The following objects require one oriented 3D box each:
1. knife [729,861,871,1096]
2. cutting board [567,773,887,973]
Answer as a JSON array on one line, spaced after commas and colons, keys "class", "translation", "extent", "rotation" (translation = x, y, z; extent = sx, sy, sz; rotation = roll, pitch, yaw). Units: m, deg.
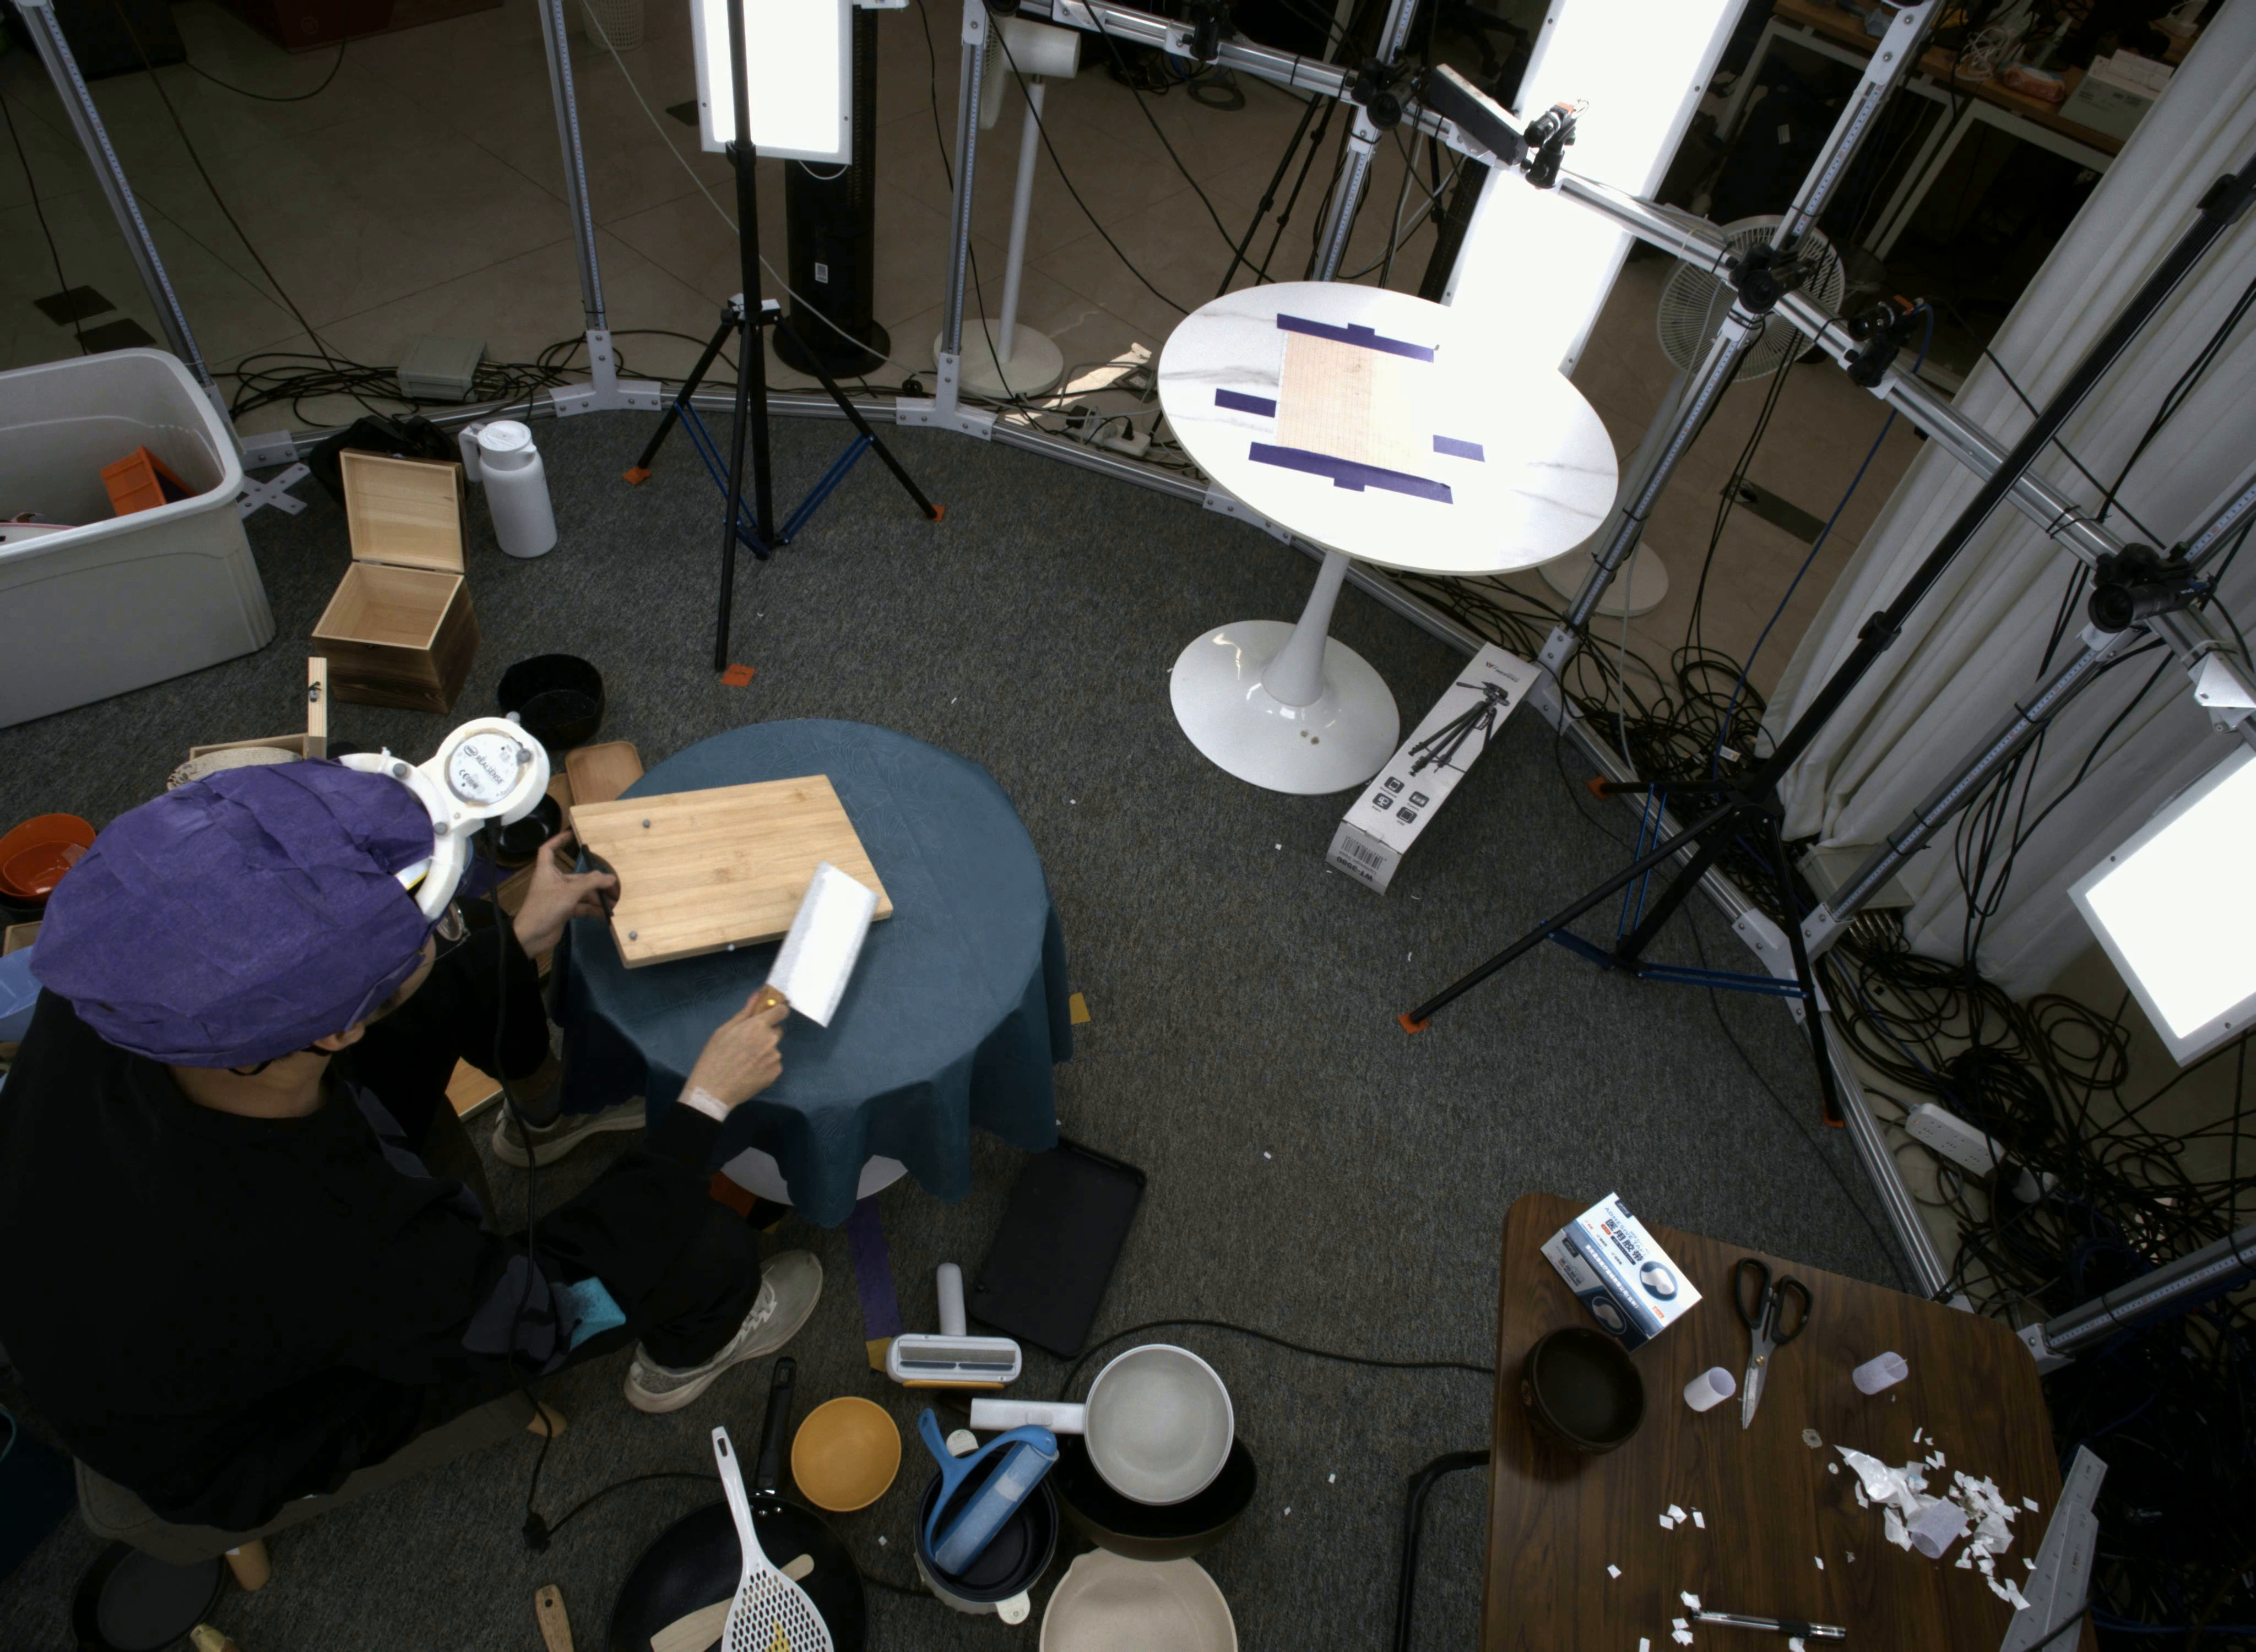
[{"class": "knife", "translation": [-0.371, 0.180, 1.502], "extent": [0.095, 0.020, 0.302], "rotation": [38, 50, -29]}, {"class": "cutting board", "translation": [-0.497, 0.047, 1.598], "extent": [0.353, 0.024, 0.244], "rotation": [-11, 56, -38]}]
